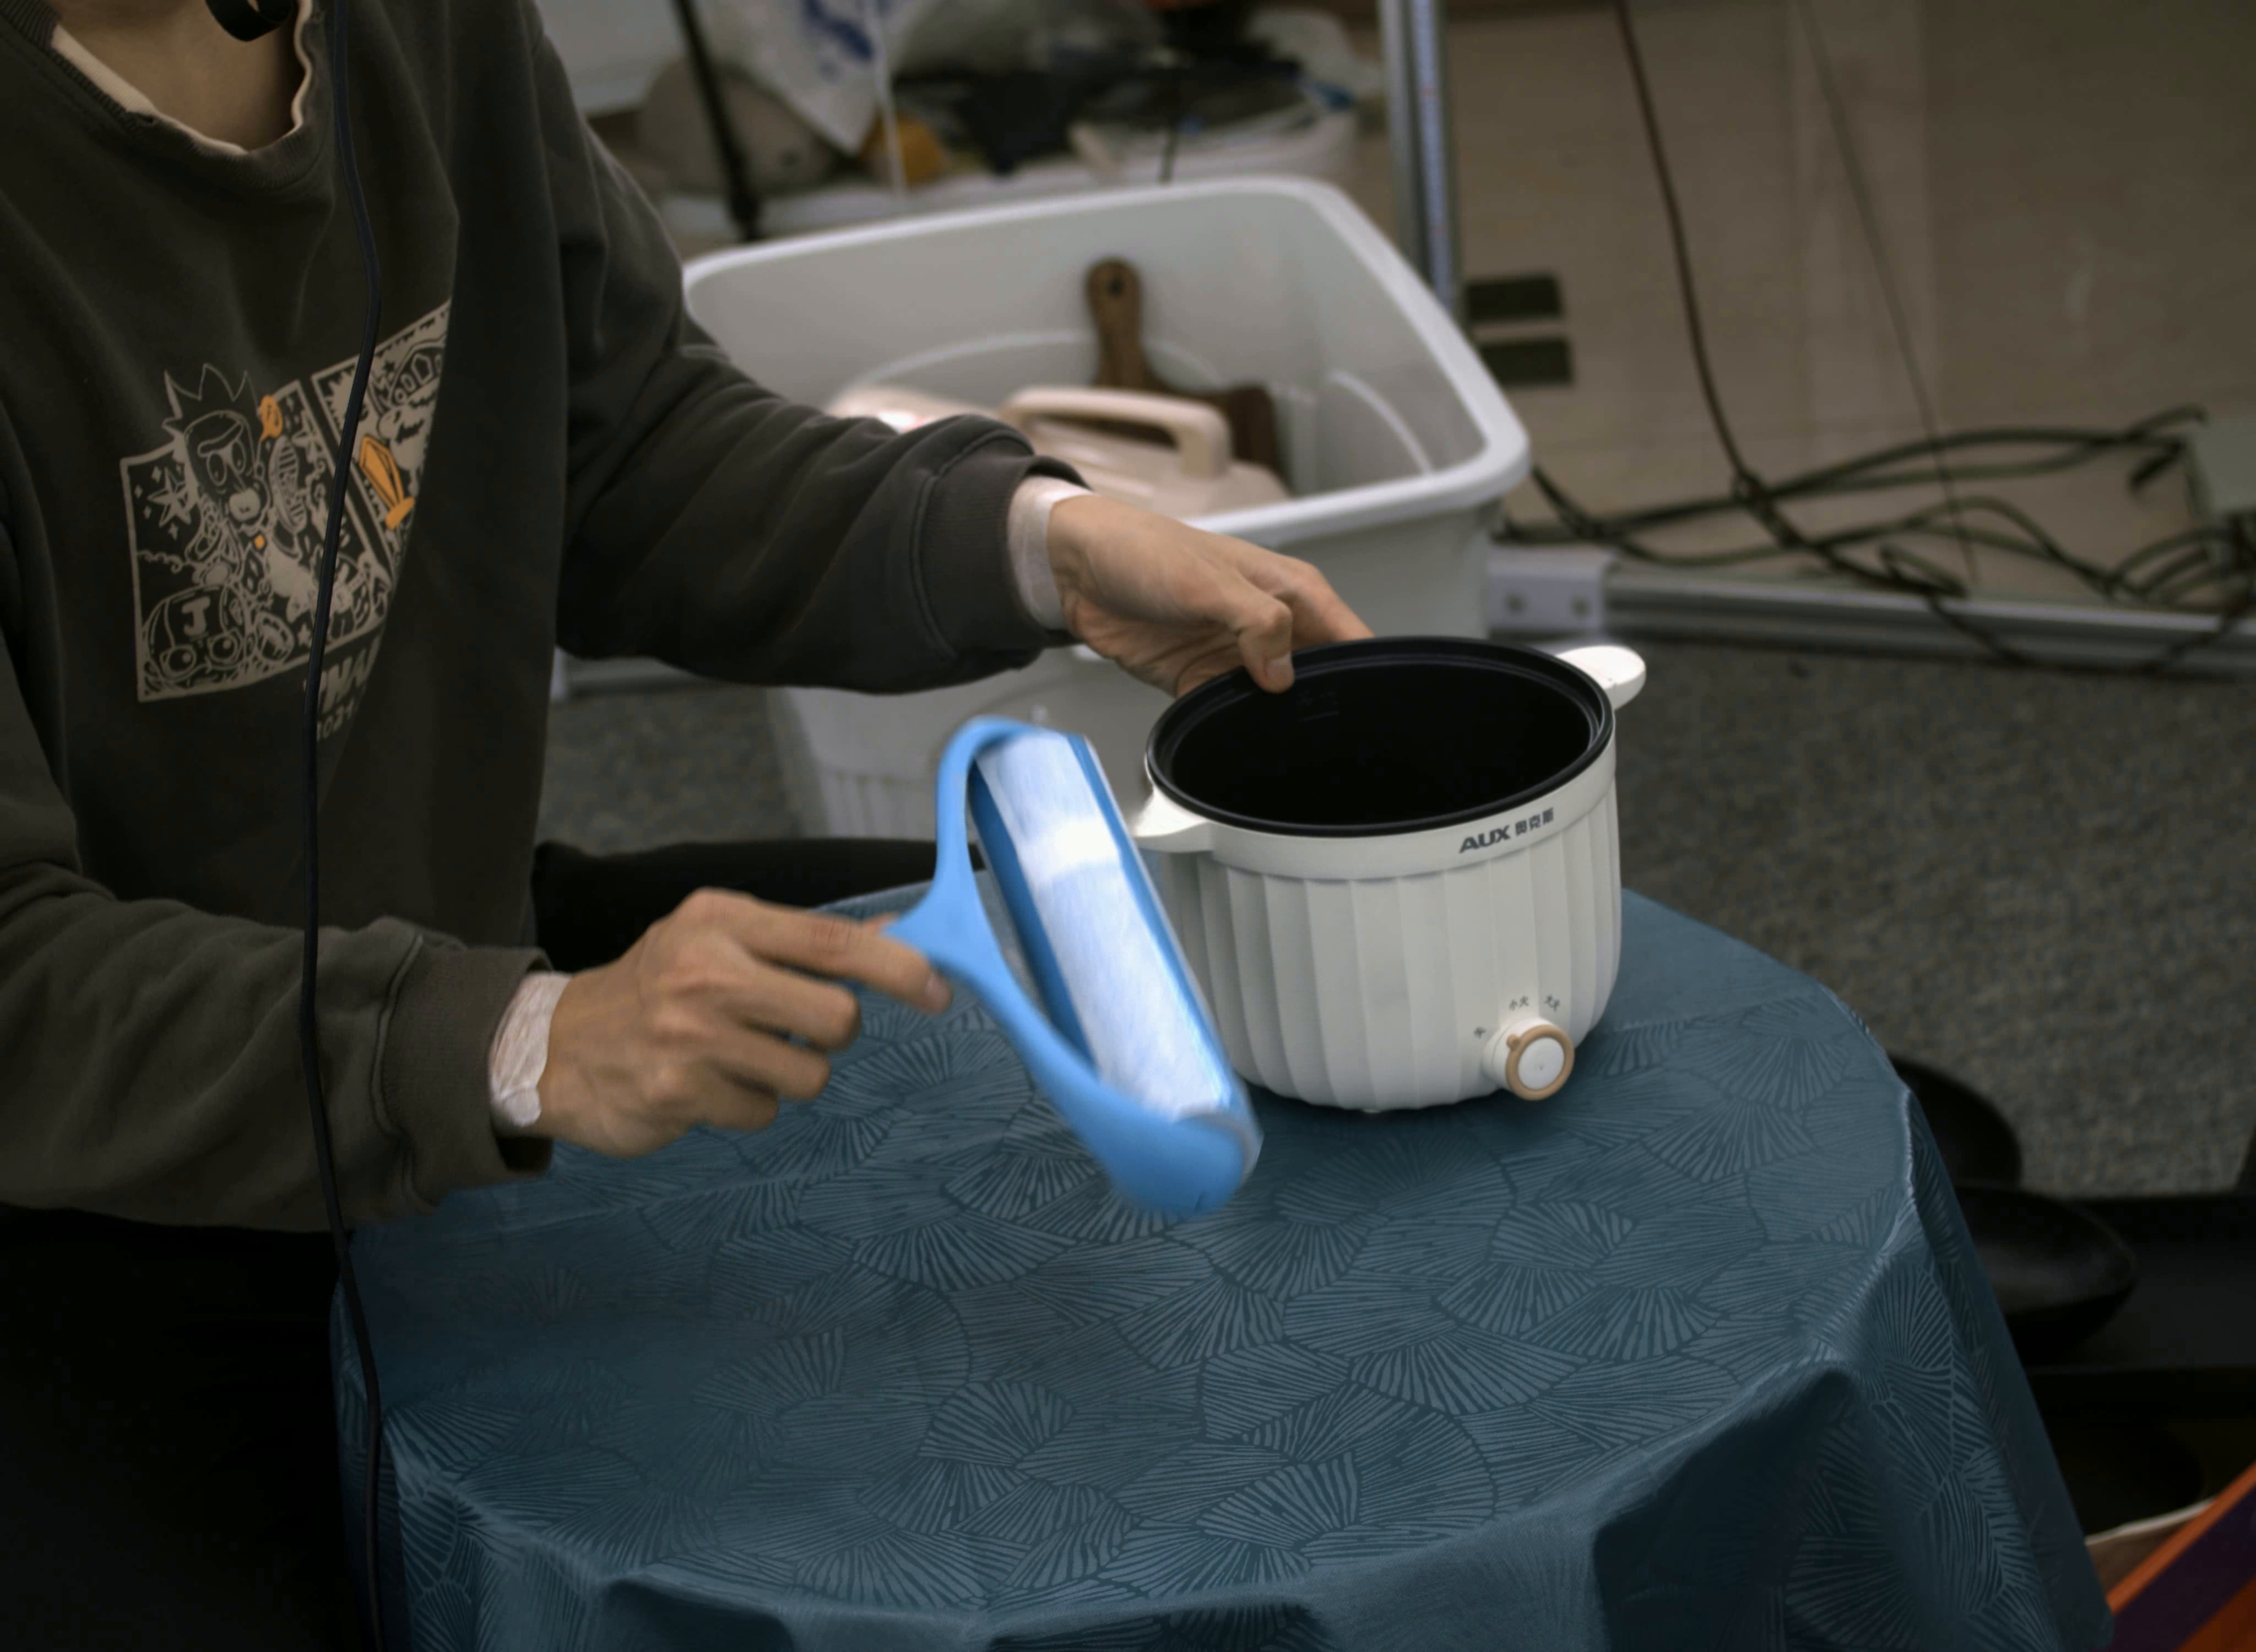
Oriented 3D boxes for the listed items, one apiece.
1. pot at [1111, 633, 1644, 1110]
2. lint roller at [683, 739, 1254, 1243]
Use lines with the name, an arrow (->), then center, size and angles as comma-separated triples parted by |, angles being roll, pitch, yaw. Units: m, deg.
pot -> 0.107, 0.023, 2.201 | 0.239, 0.145, 0.188 | -20, 26, -24
lint roller -> -0.065, 0.064, 1.978 | 0.180, 0.069, 0.225 | -8, 48, -17
